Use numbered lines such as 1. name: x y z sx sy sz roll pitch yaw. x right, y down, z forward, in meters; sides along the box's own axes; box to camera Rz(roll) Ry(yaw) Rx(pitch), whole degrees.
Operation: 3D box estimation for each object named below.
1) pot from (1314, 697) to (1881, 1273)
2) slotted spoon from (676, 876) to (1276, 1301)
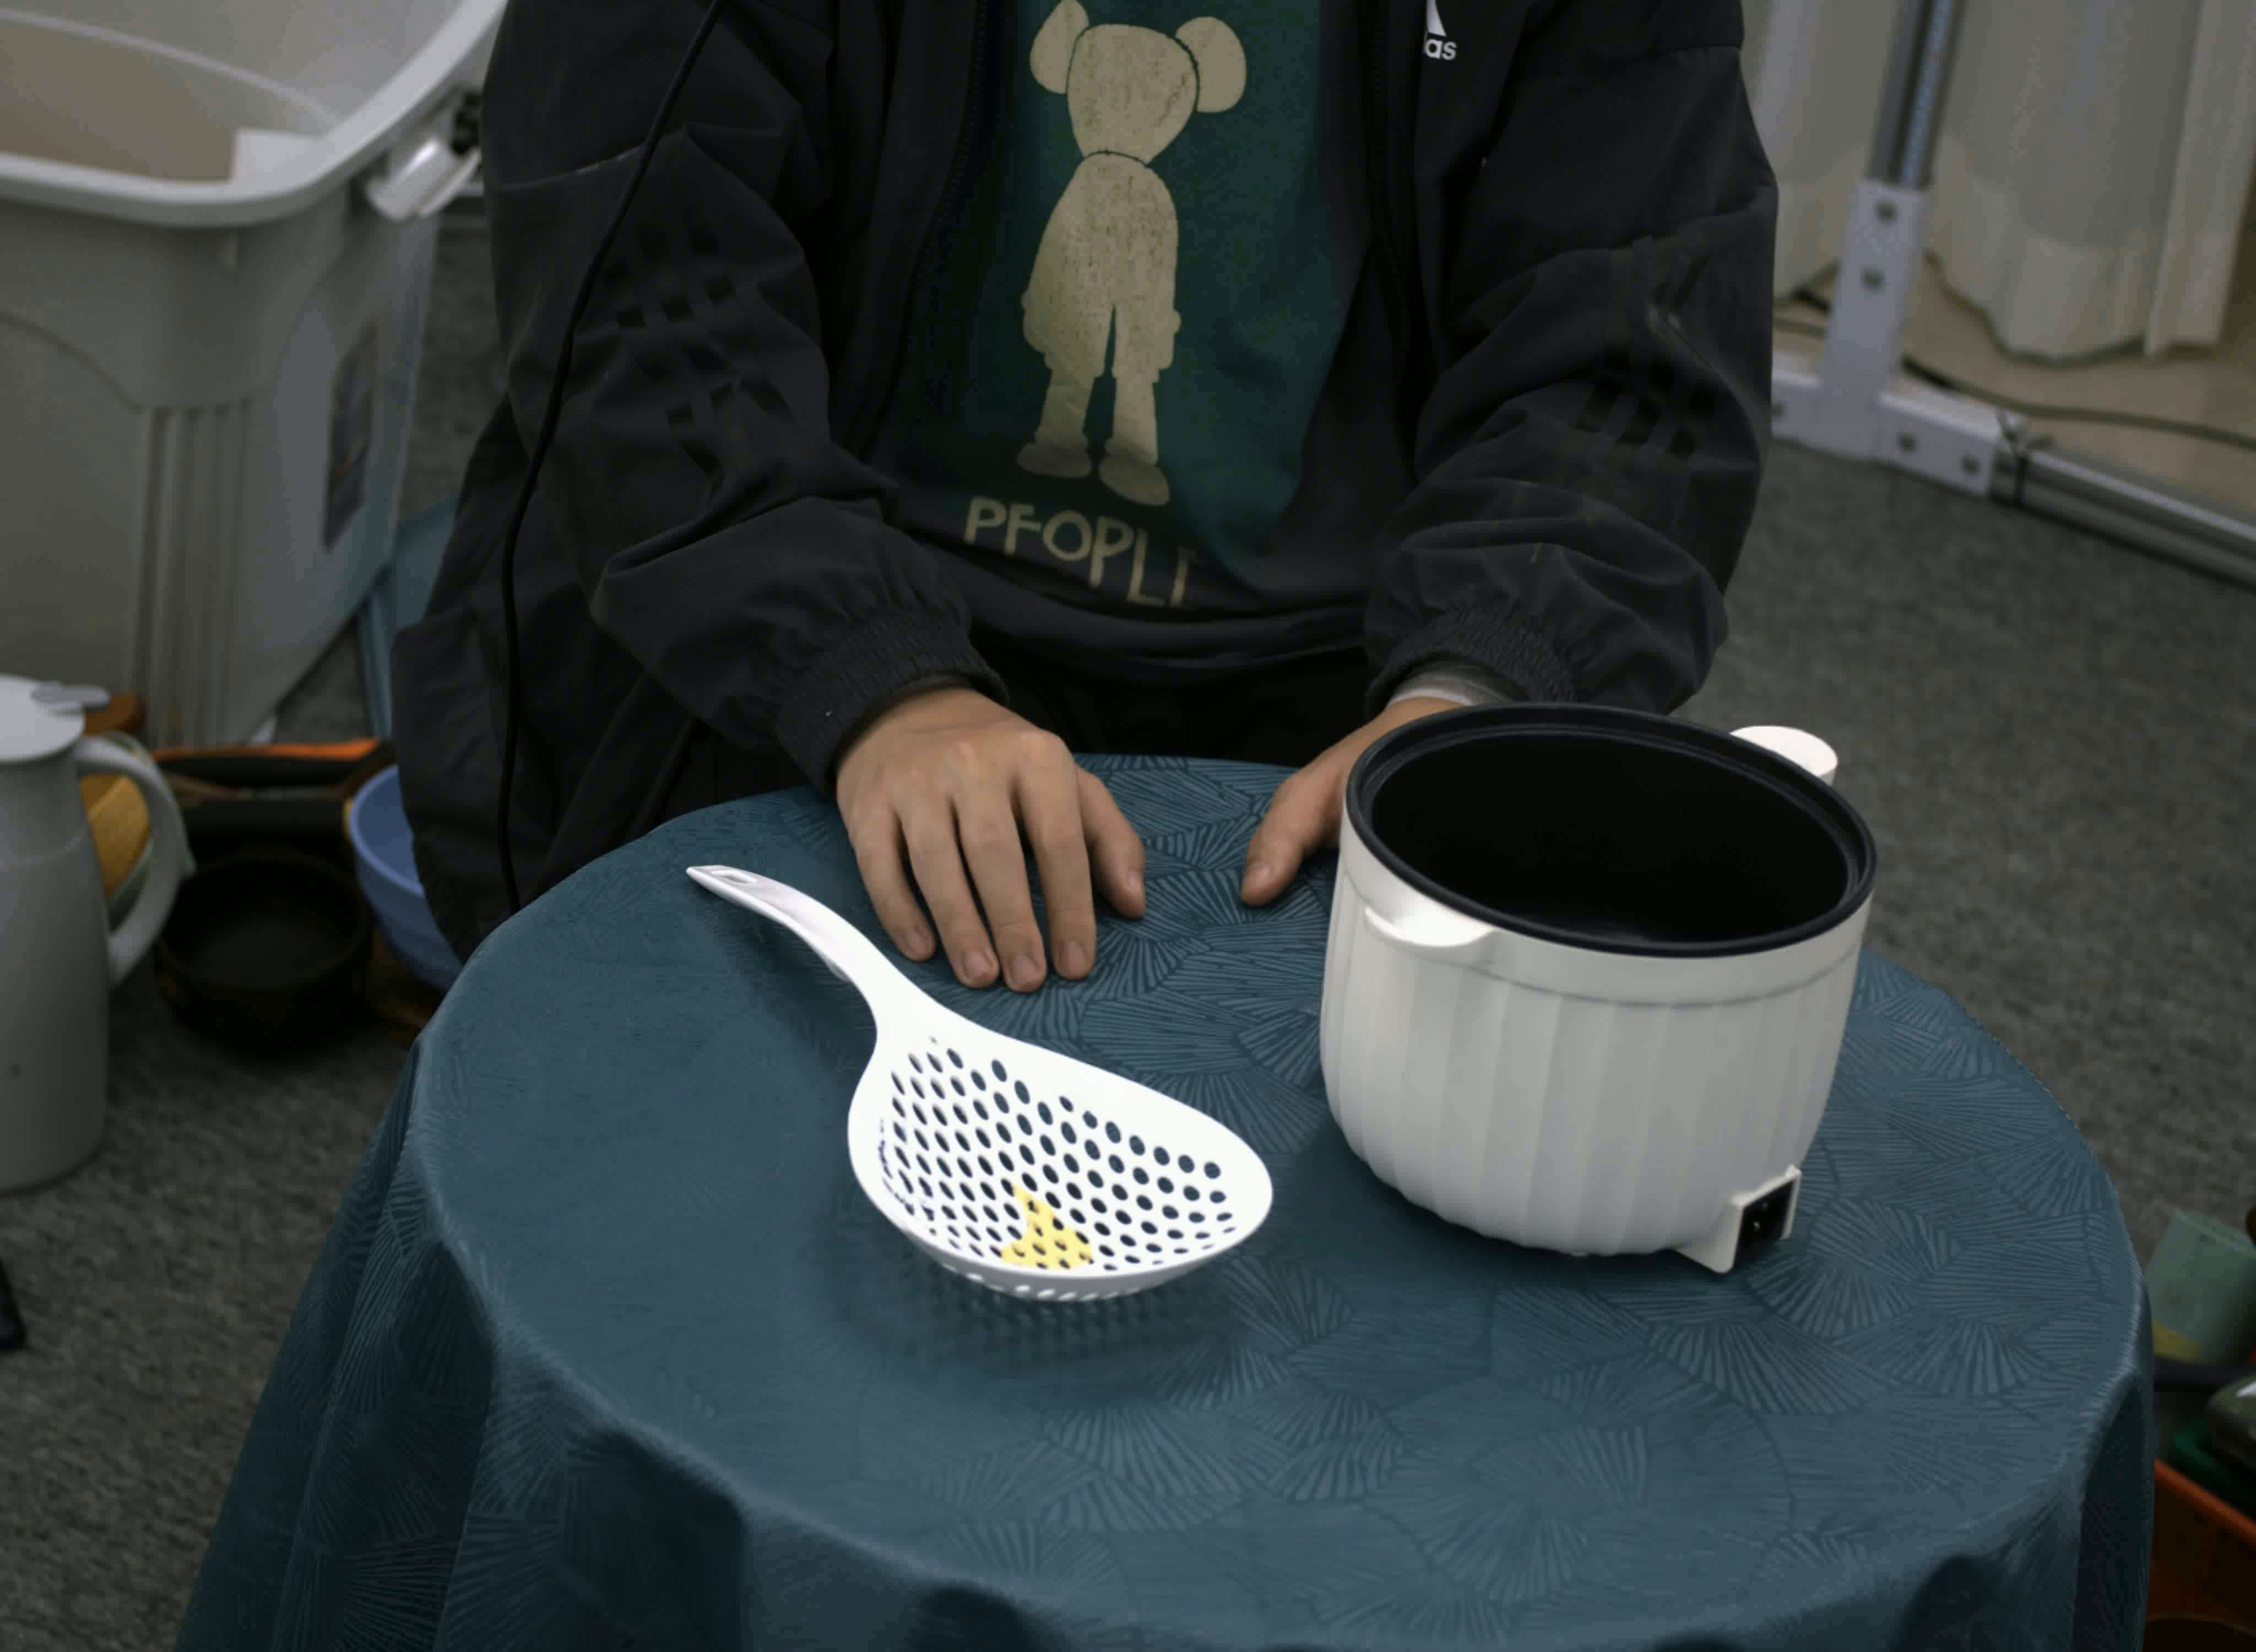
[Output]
1. pot: 0.151 0.055 1.823 0.192 0.142 0.239 29 33 32
2. slotted spoon: -0.073 0.078 1.833 0.136 0.050 0.351 -9 31 -26
